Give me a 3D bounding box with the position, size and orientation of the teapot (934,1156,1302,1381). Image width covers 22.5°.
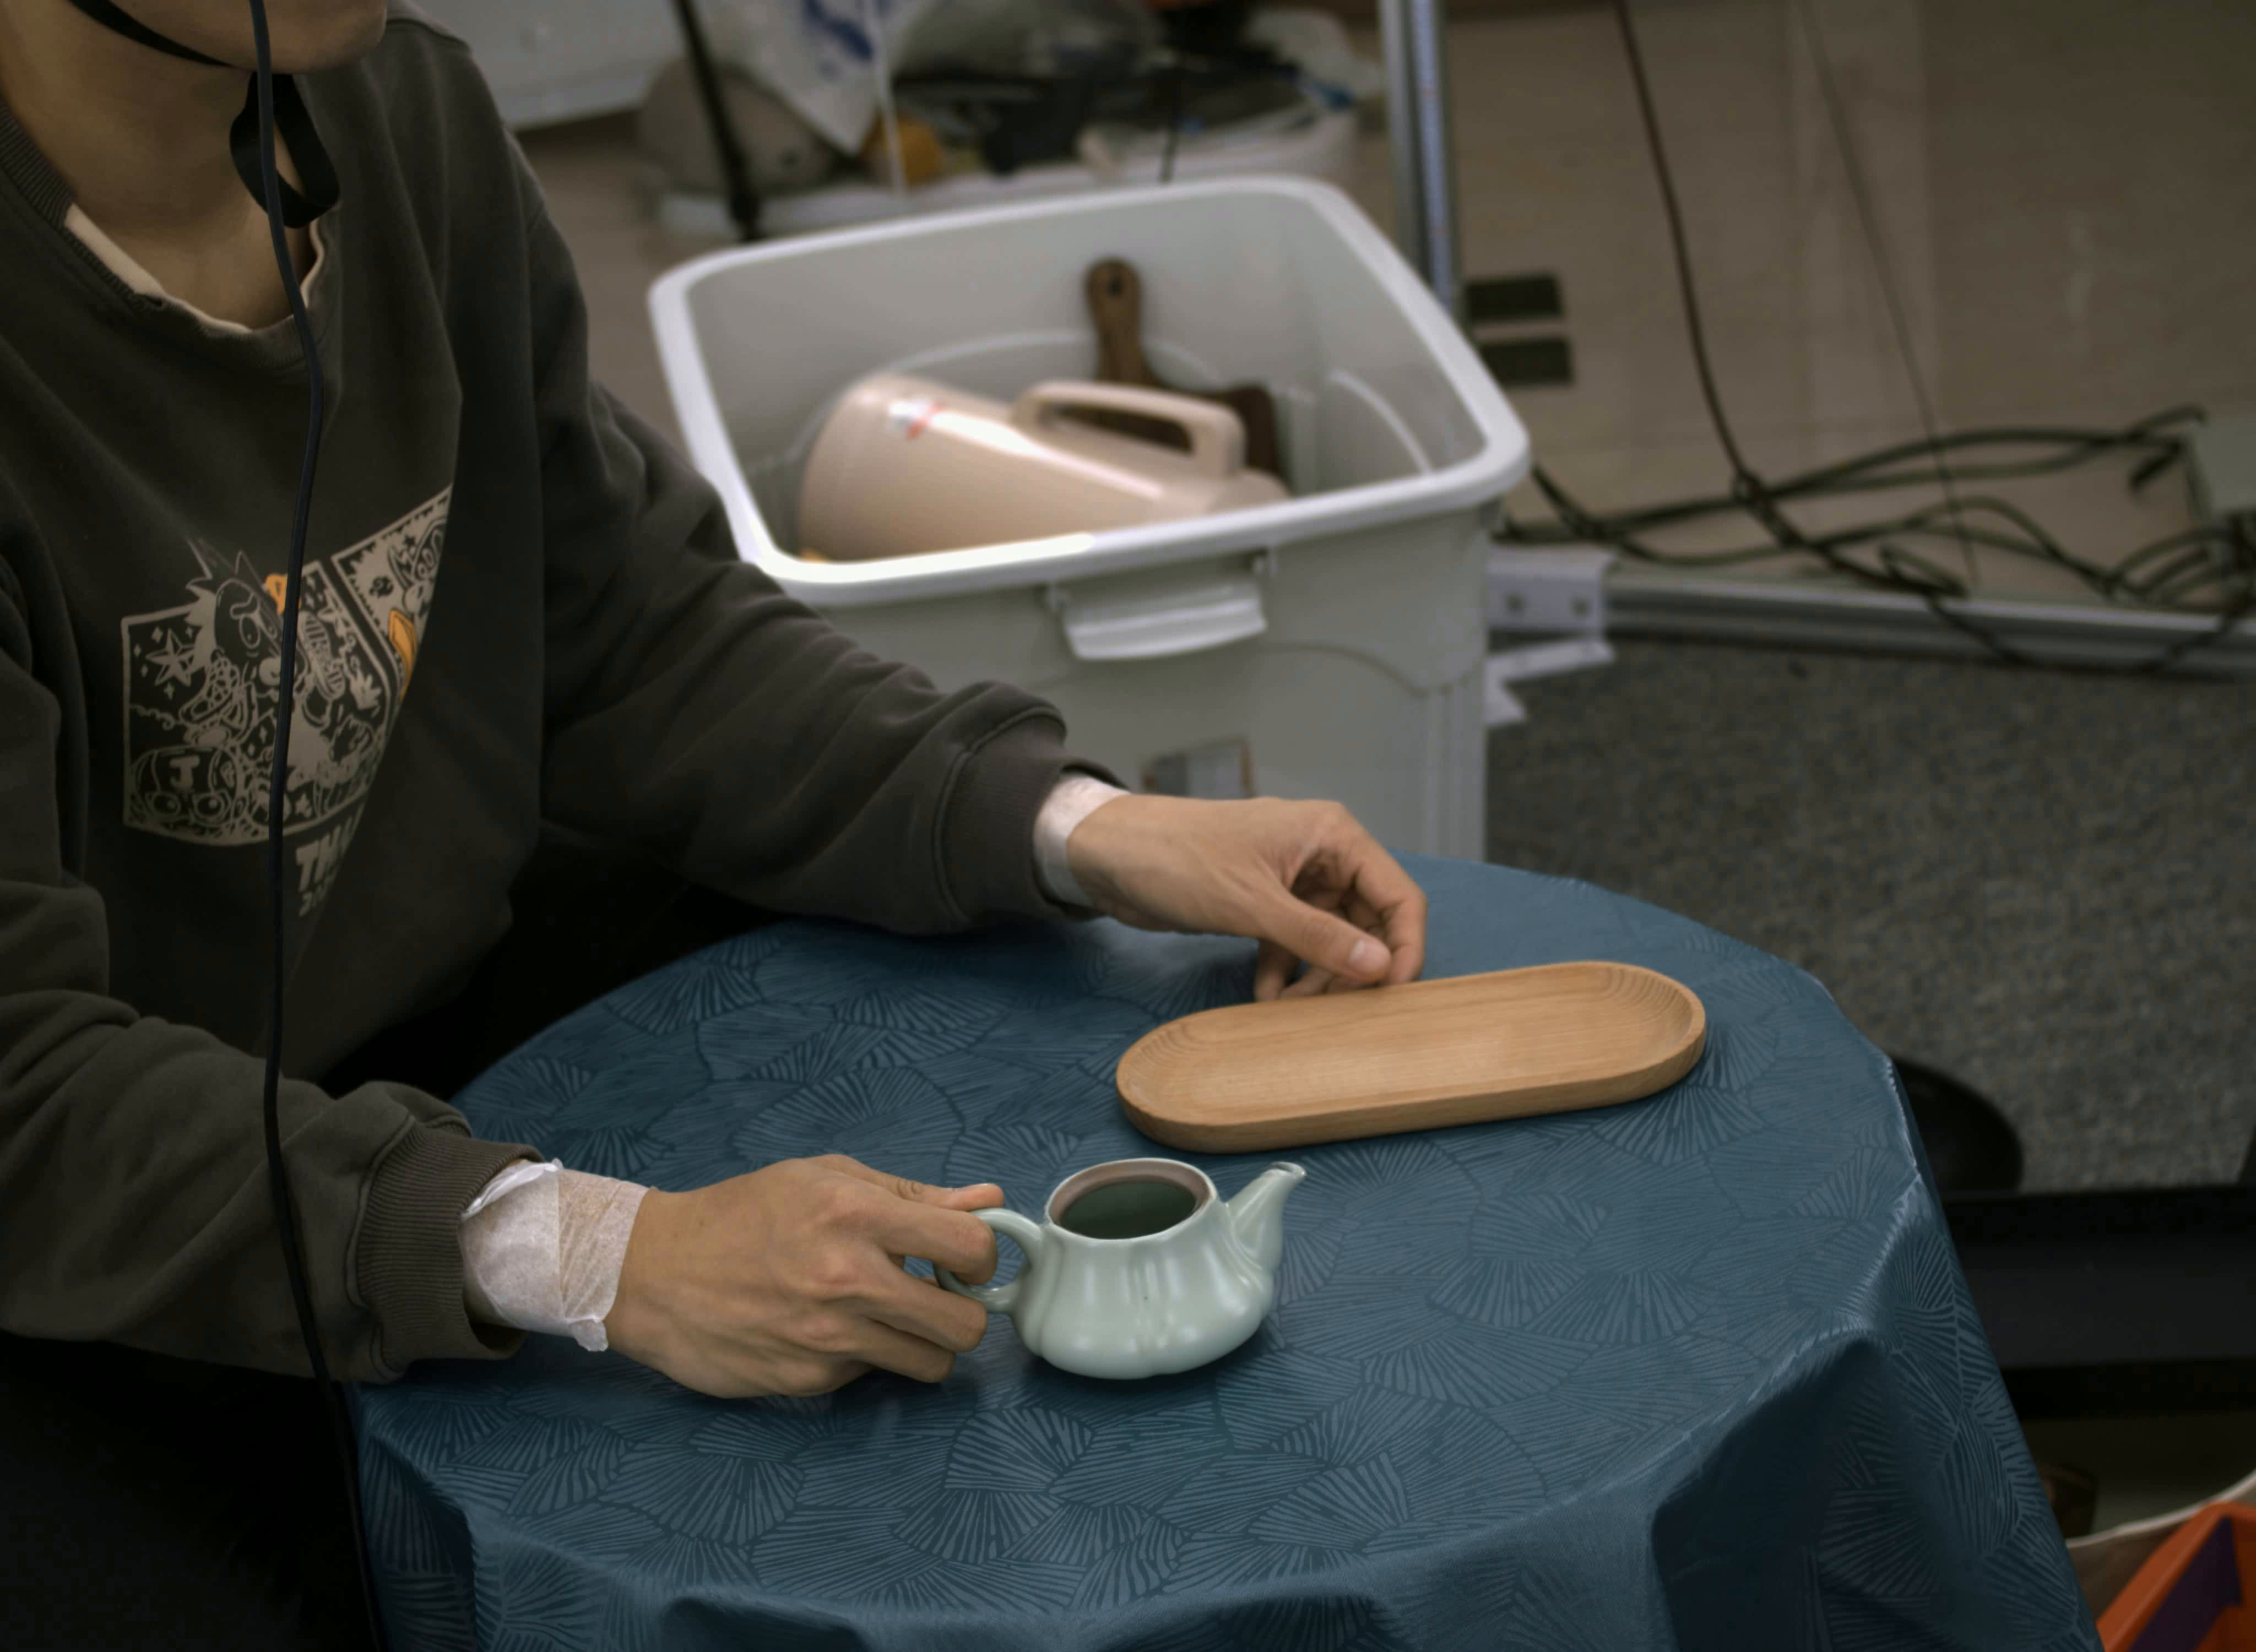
[{"bbox_3d":[-0.002,0.158,2.035,0.136,0.062,0.095,-10,27,-8],"label":"teapot"}]

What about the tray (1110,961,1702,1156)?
[{"bbox_3d":[0.108,0.091,2.203,0.231,0.020,0.100,-9,25,-2],"label":"tray"}]
